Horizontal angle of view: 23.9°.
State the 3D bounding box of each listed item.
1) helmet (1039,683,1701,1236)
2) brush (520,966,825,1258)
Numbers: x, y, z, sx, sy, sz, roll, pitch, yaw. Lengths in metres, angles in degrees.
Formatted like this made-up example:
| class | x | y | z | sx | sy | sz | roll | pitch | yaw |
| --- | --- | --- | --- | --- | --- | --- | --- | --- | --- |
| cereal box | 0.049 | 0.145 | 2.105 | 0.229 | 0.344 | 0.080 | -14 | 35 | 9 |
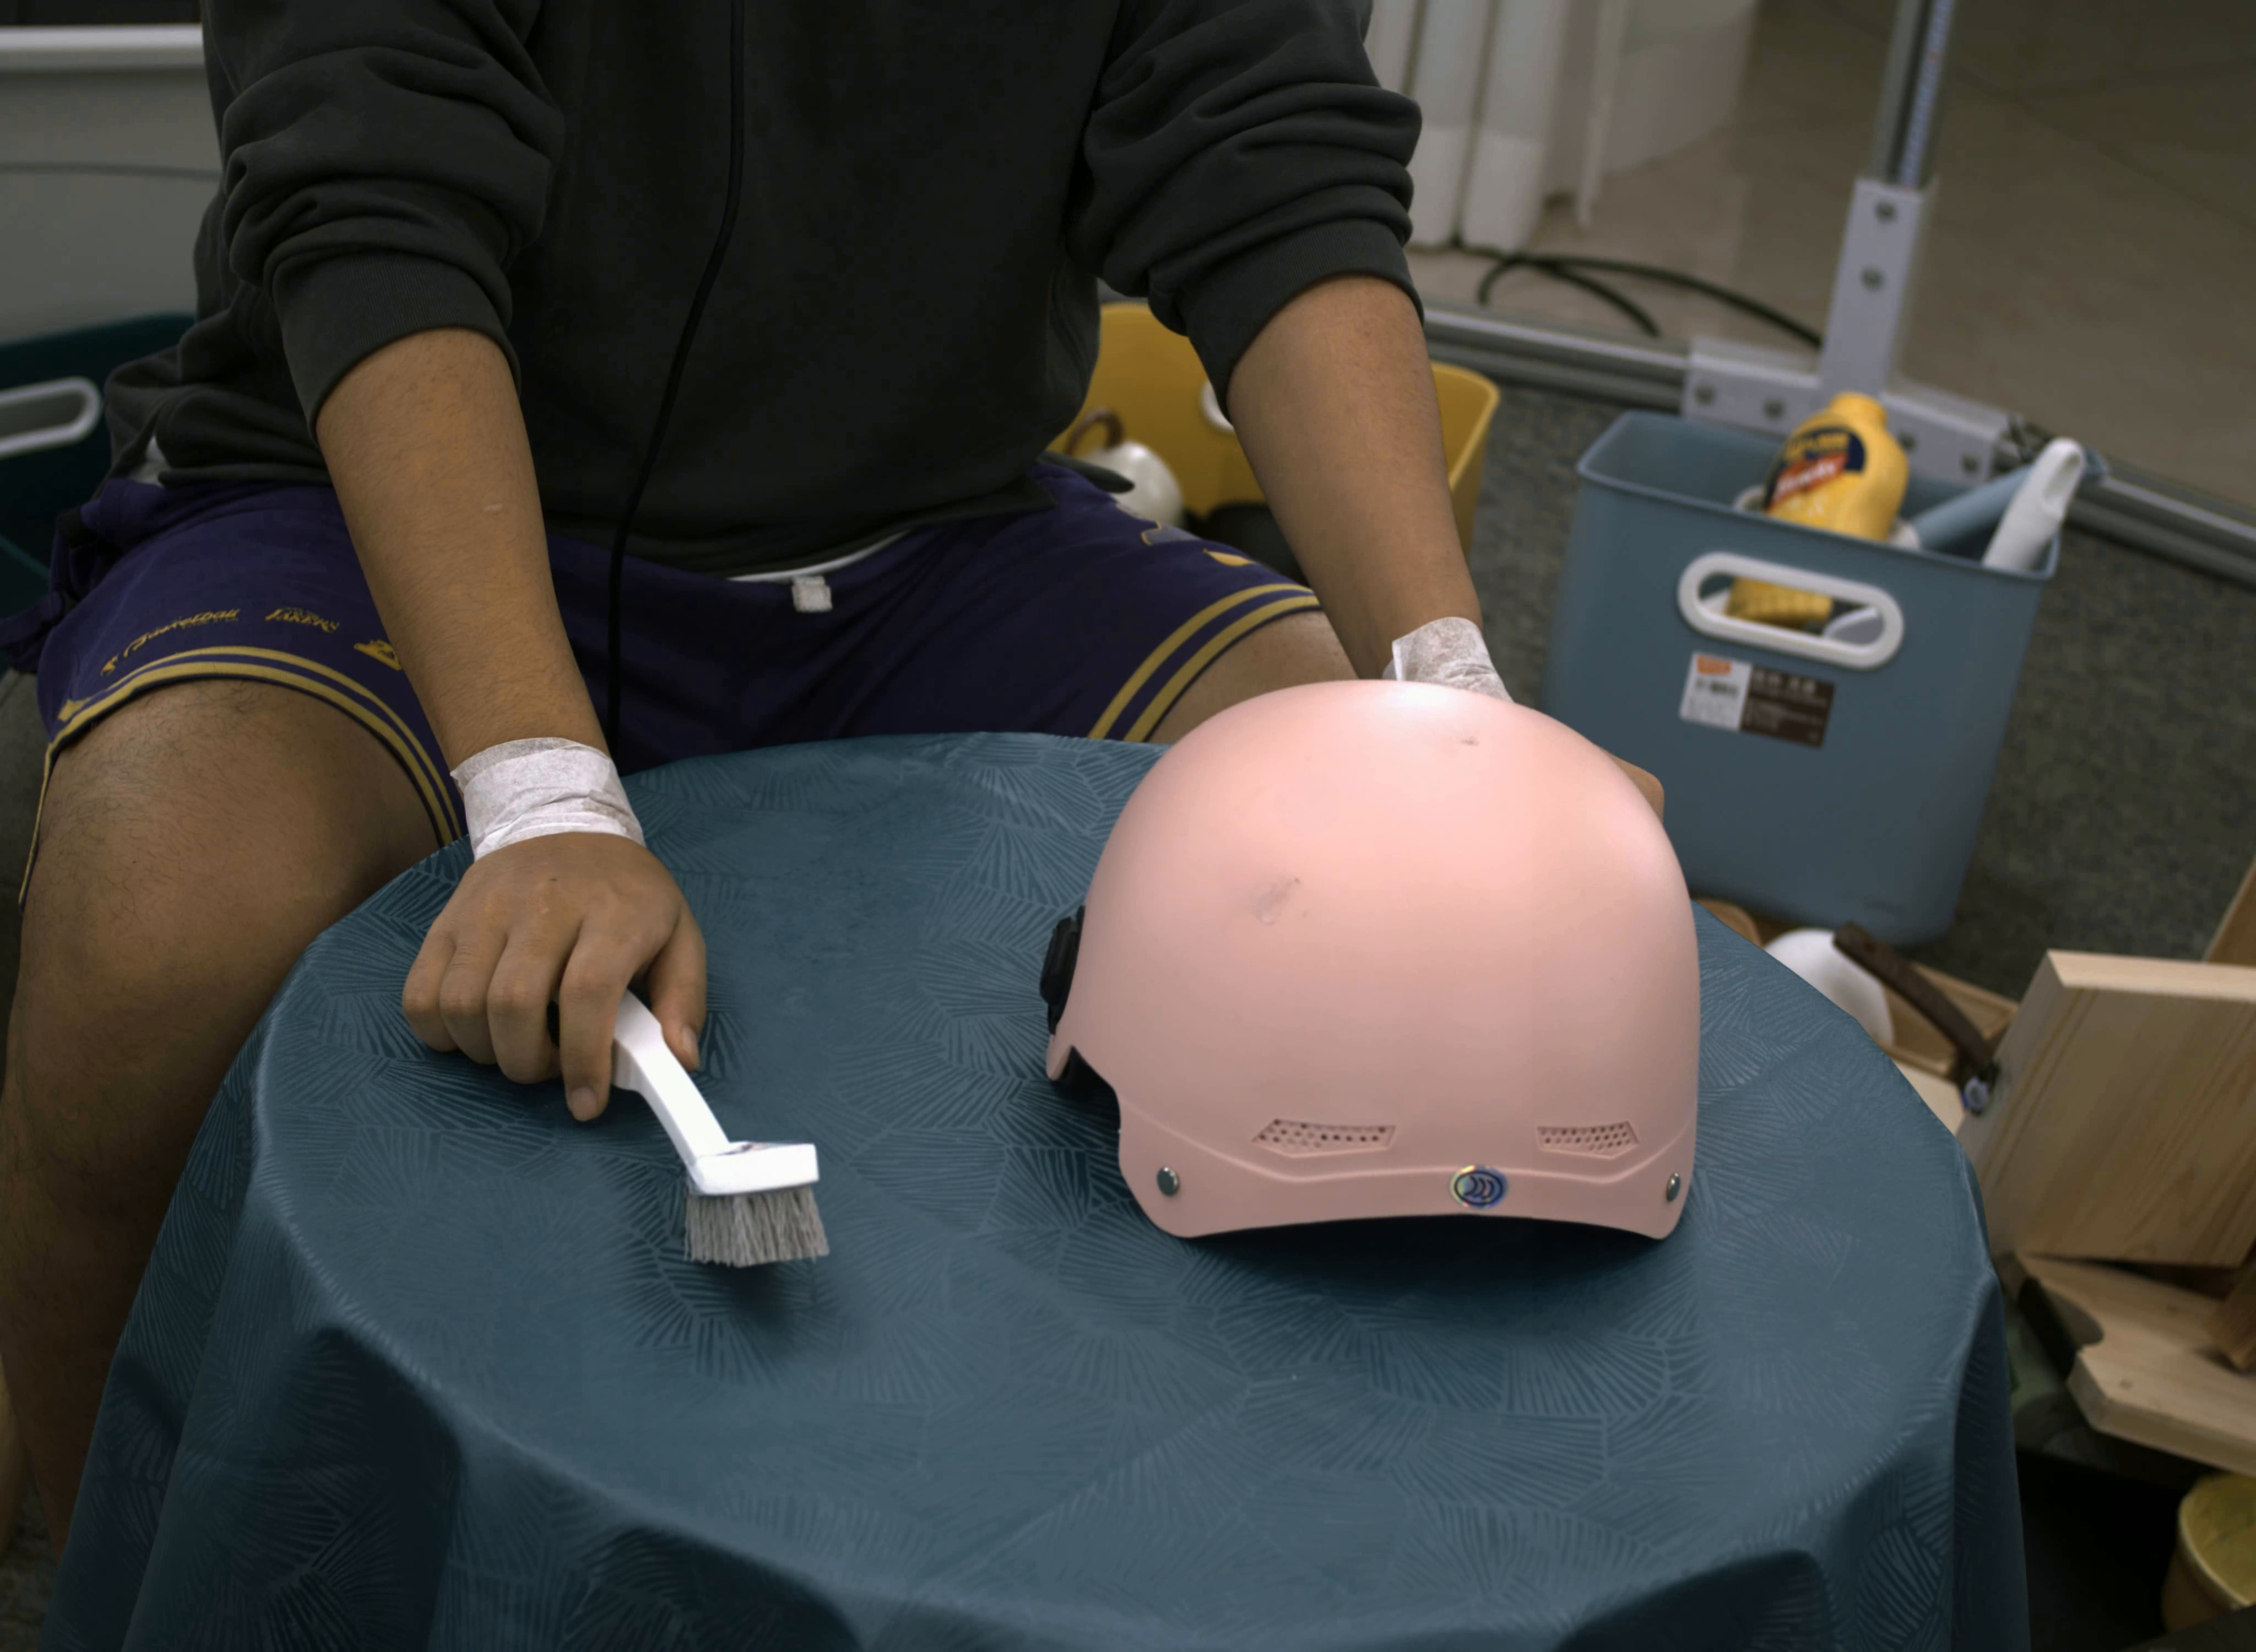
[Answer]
| class | x | y | z | sx | sy | sz | roll | pitch | yaw |
| --- | --- | --- | --- | --- | --- | --- | --- | --- | --- |
| helmet | 0.090 | 0.029 | 1.843 | 0.233 | 0.158 | 0.268 | 0 | 23 | -11 |
| brush | -0.157 | 0.099 | 1.791 | 0.034 | 0.050 | 0.245 | -9 | 17 | -23 |
